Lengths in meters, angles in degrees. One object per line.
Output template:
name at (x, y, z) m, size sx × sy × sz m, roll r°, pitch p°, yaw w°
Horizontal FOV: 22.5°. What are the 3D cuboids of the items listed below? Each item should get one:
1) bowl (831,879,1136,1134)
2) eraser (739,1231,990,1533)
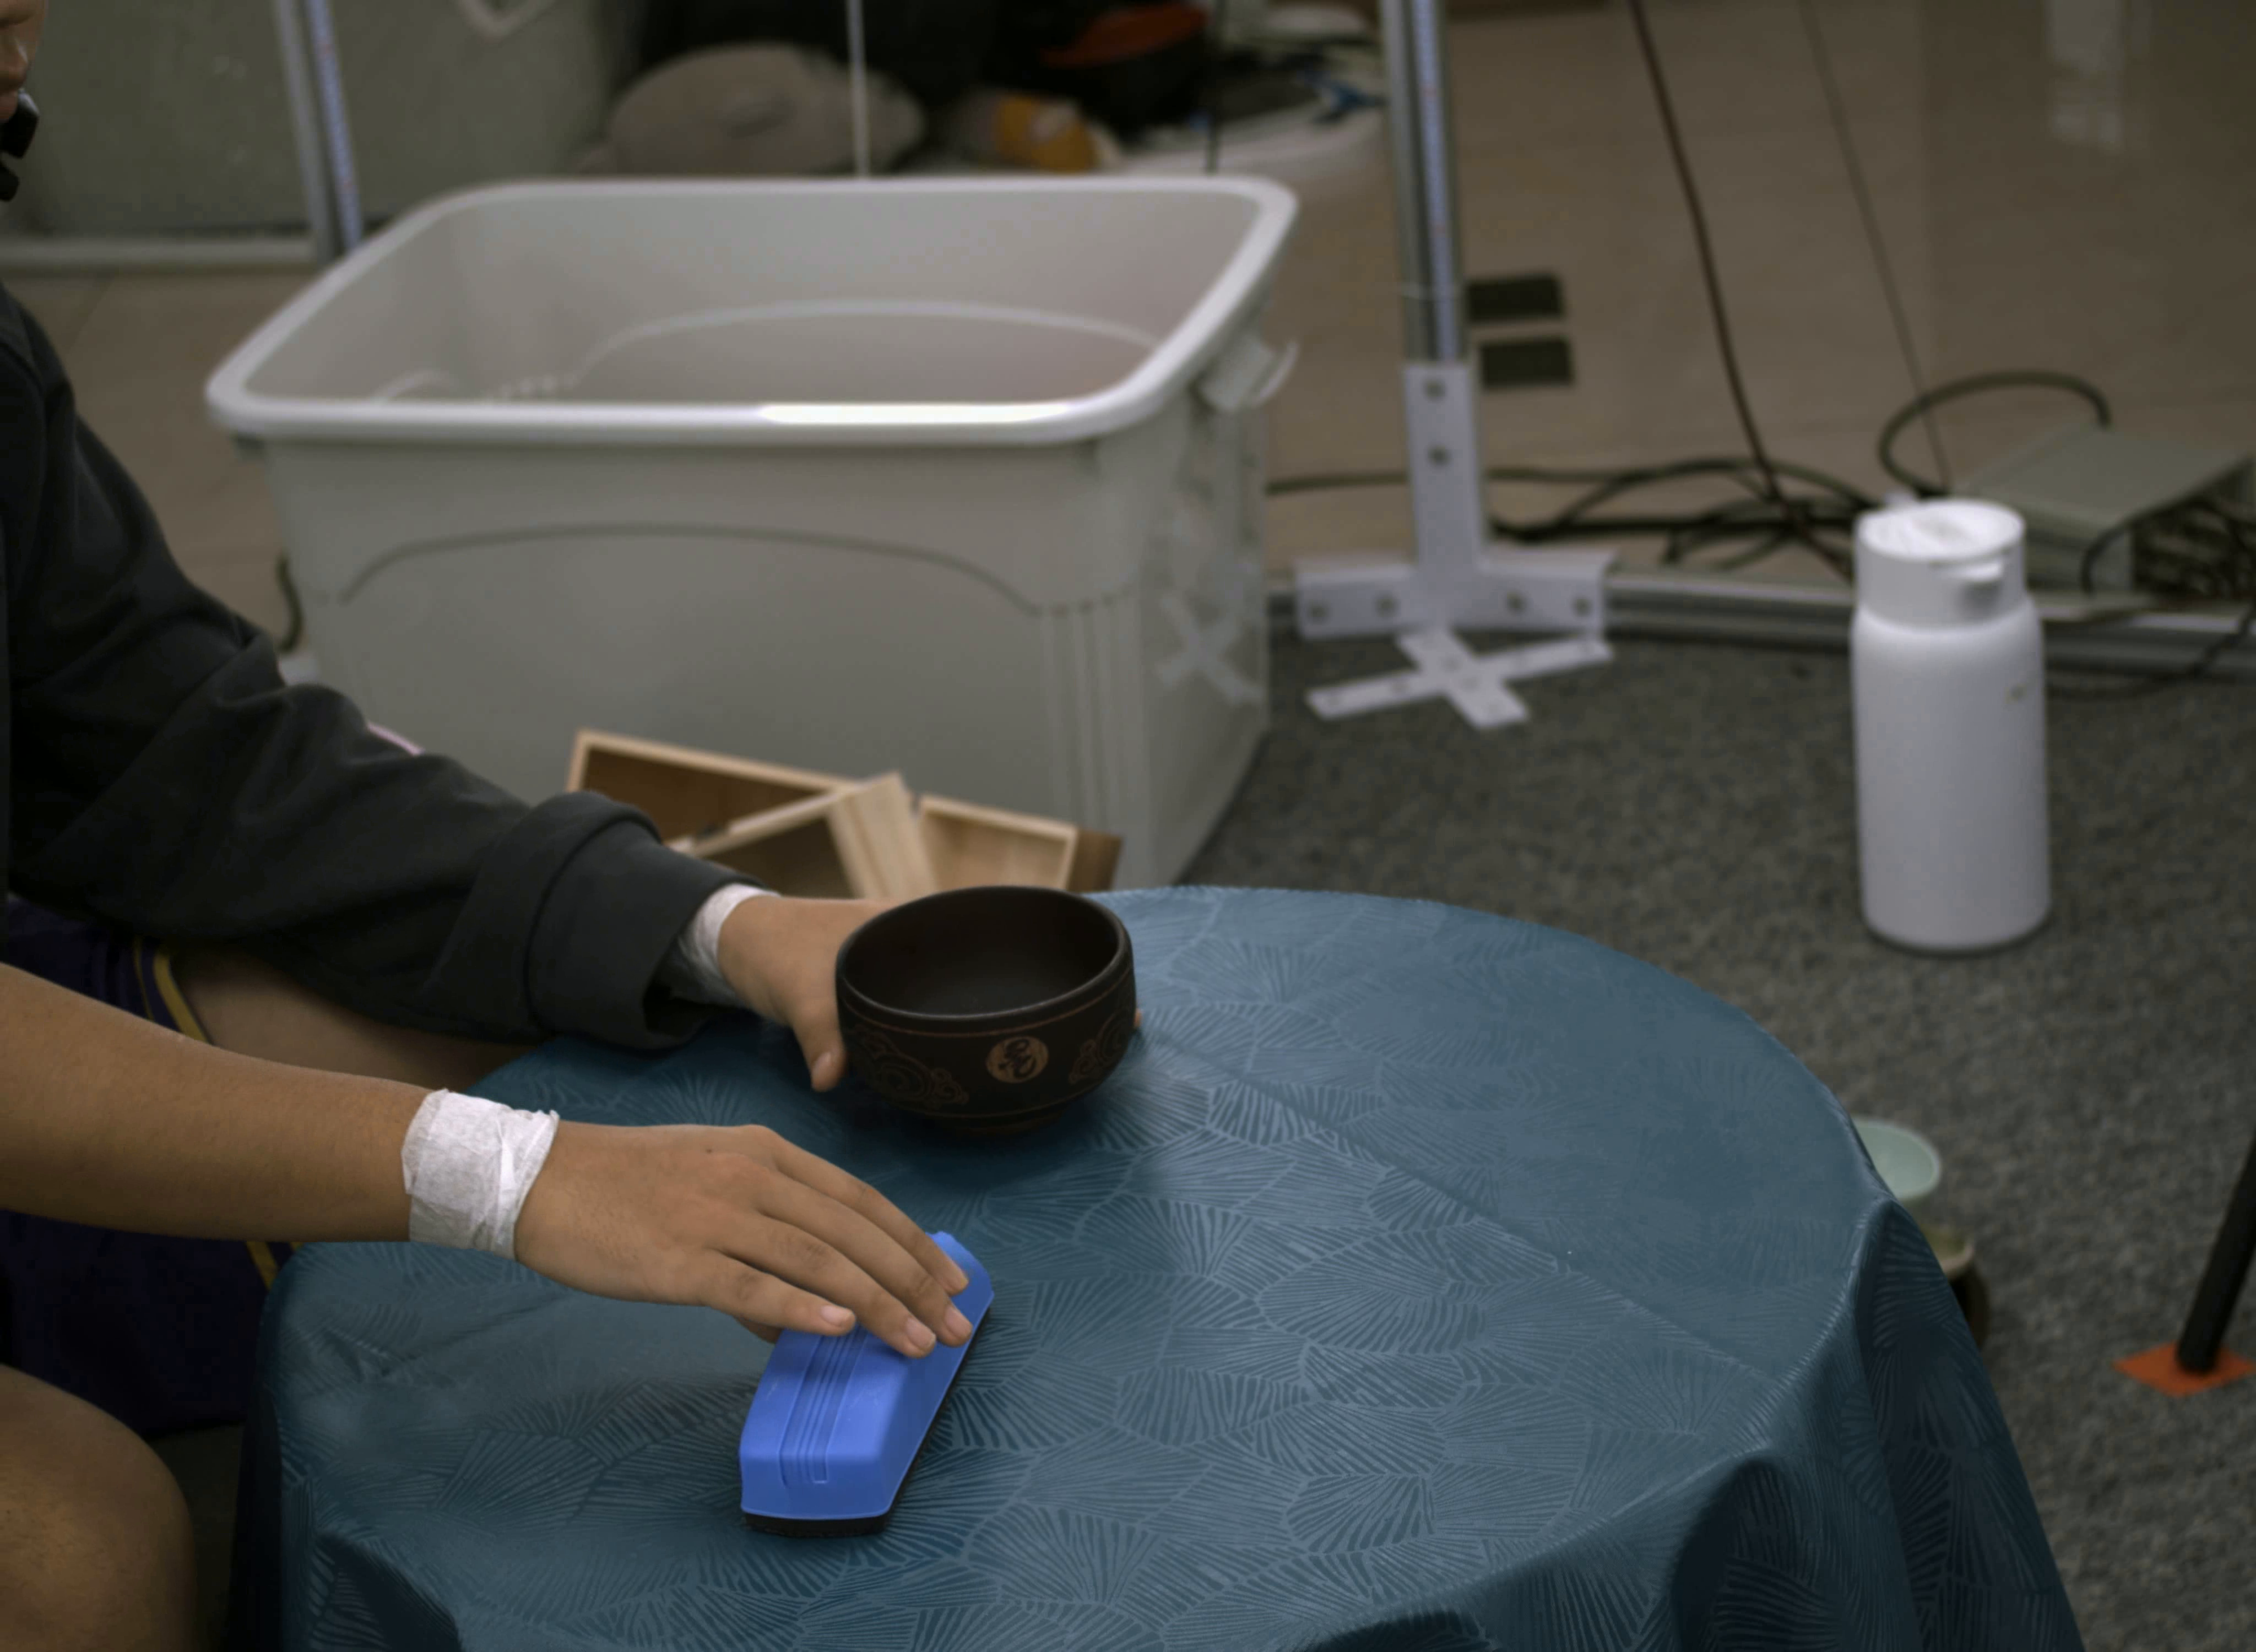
bowl at (-0.054, 0.076, 2.205) m, size 0.118 × 0.071 × 0.116 m, roll -6°, pitch 27°, yaw 3°
eraser at (-0.092, 0.189, 2.006) m, size 0.054 × 0.048 × 0.160 m, roll 3°, pitch 26°, yaw 12°
